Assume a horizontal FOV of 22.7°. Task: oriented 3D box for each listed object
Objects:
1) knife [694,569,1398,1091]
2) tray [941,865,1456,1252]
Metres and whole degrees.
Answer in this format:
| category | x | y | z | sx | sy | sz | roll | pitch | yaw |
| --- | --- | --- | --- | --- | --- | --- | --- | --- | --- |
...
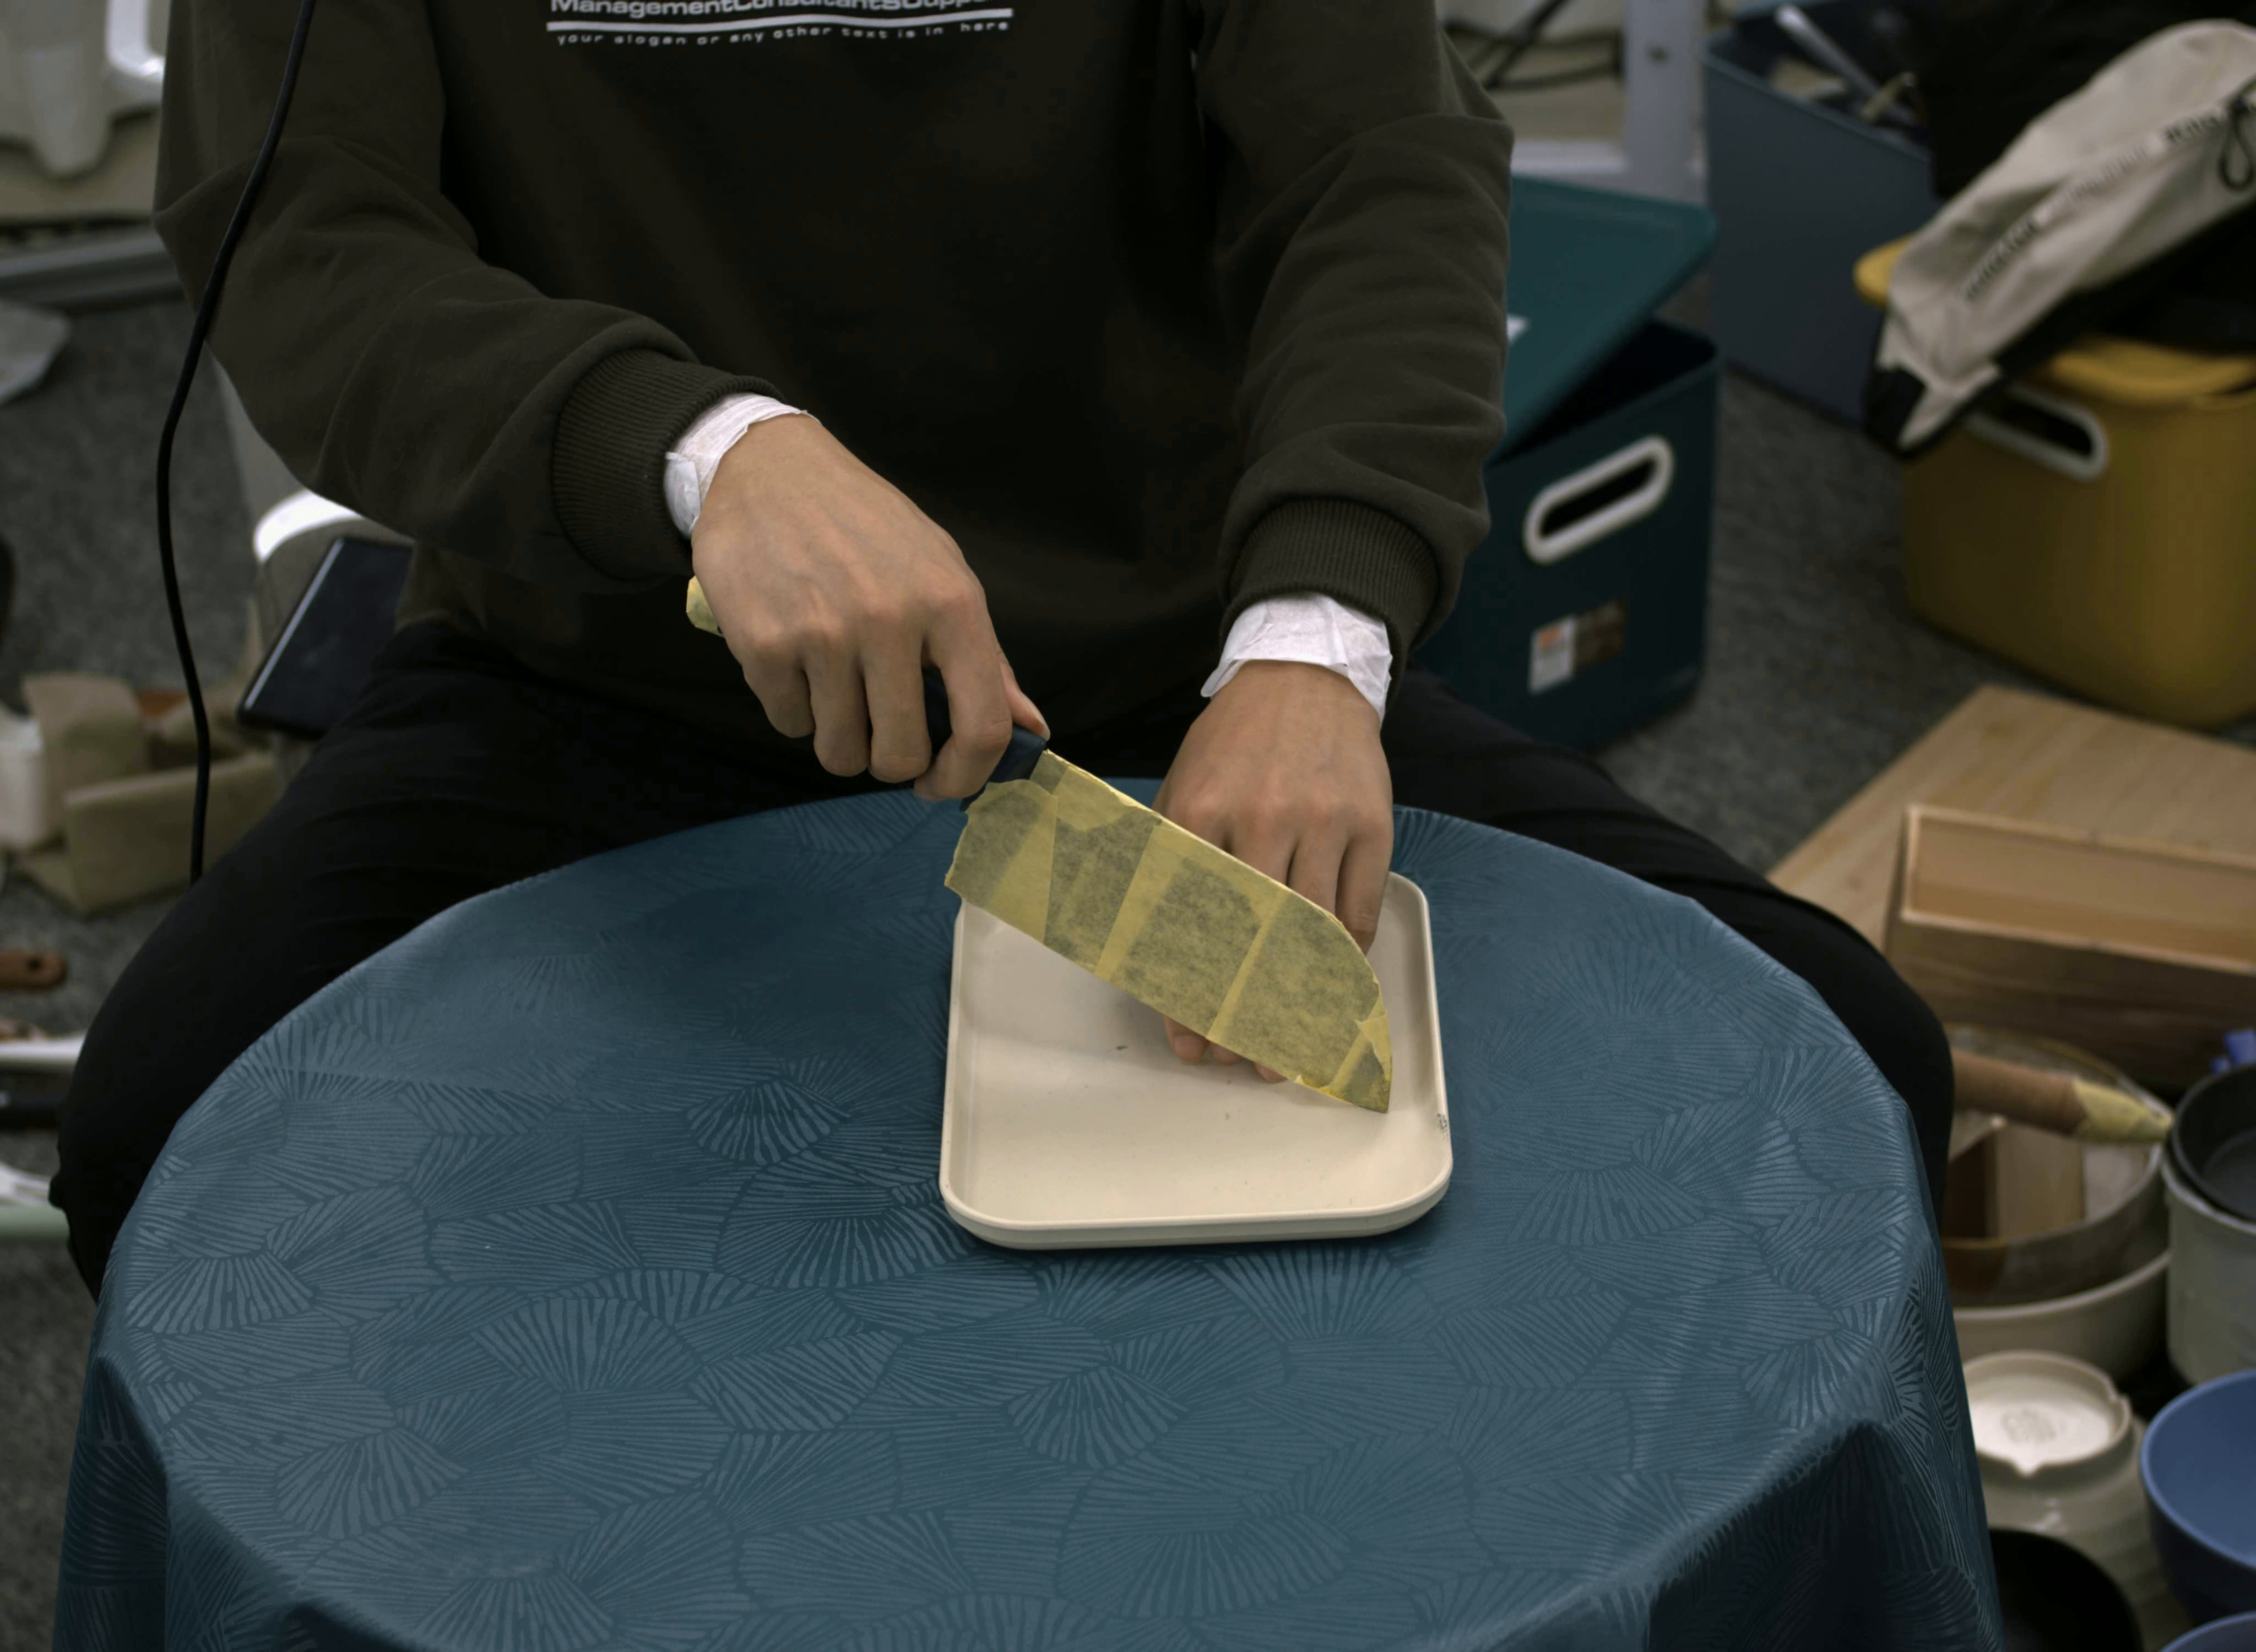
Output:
| category | x | y | z | sx | sy | sz | roll | pitch | yaw |
| --- | --- | --- | --- | --- | --- | --- | --- | --- | --- |
| knife | -0.030 | 0.003 | 1.902 | 0.289 | 0.080 | 0.027 | 34 | 33 | 8 |
| tray | 0.023 | 0.079 | 1.924 | 0.170 | 0.017 | 0.243 | -2 | 27 | 1 |
